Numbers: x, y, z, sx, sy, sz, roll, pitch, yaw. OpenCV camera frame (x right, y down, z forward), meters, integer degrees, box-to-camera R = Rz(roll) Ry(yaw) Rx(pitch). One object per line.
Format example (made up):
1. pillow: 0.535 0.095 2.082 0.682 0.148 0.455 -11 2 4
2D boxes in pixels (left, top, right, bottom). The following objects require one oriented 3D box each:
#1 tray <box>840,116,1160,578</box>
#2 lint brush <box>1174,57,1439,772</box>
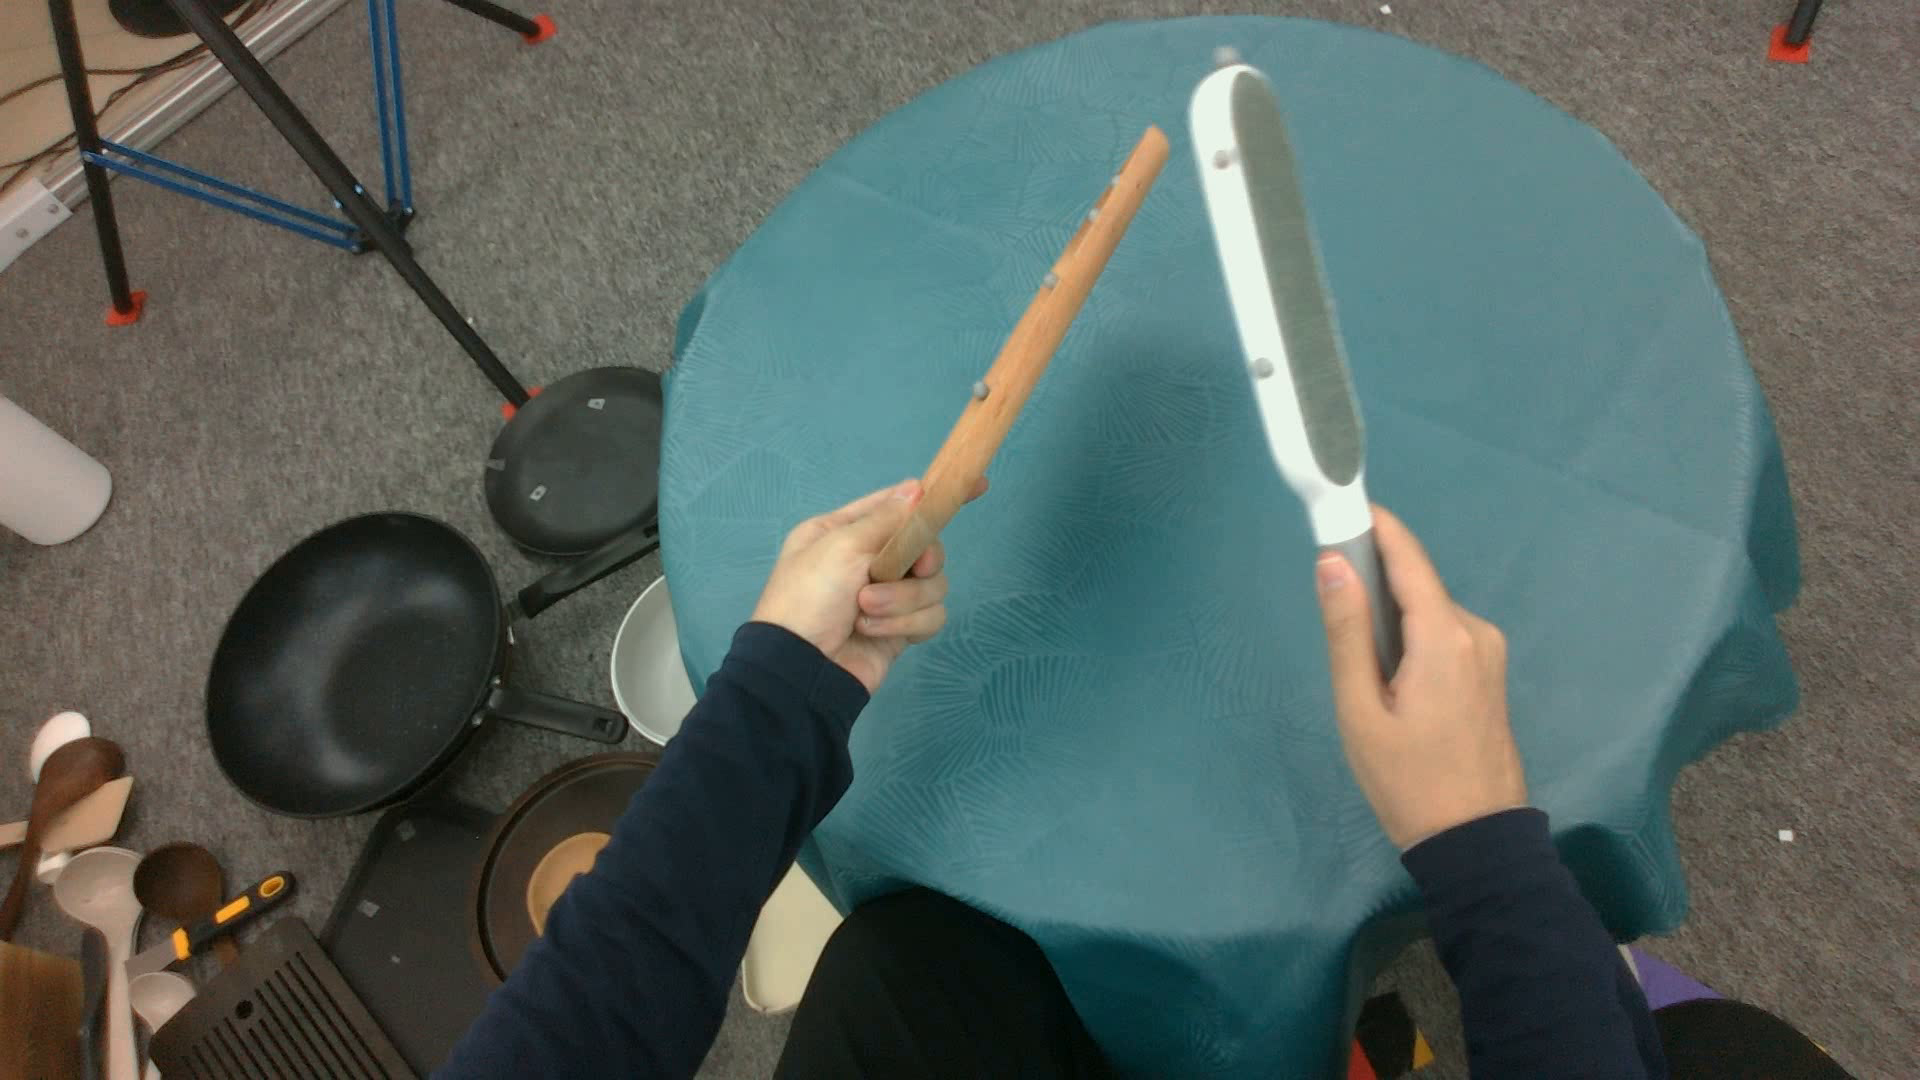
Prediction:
1. tray: 0.022 -0.092 0.646 0.023 0.130 0.252 32 61 -3
2. lint brush: 0.145 -0.050 0.569 0.021 0.060 0.308 -16 94 36
